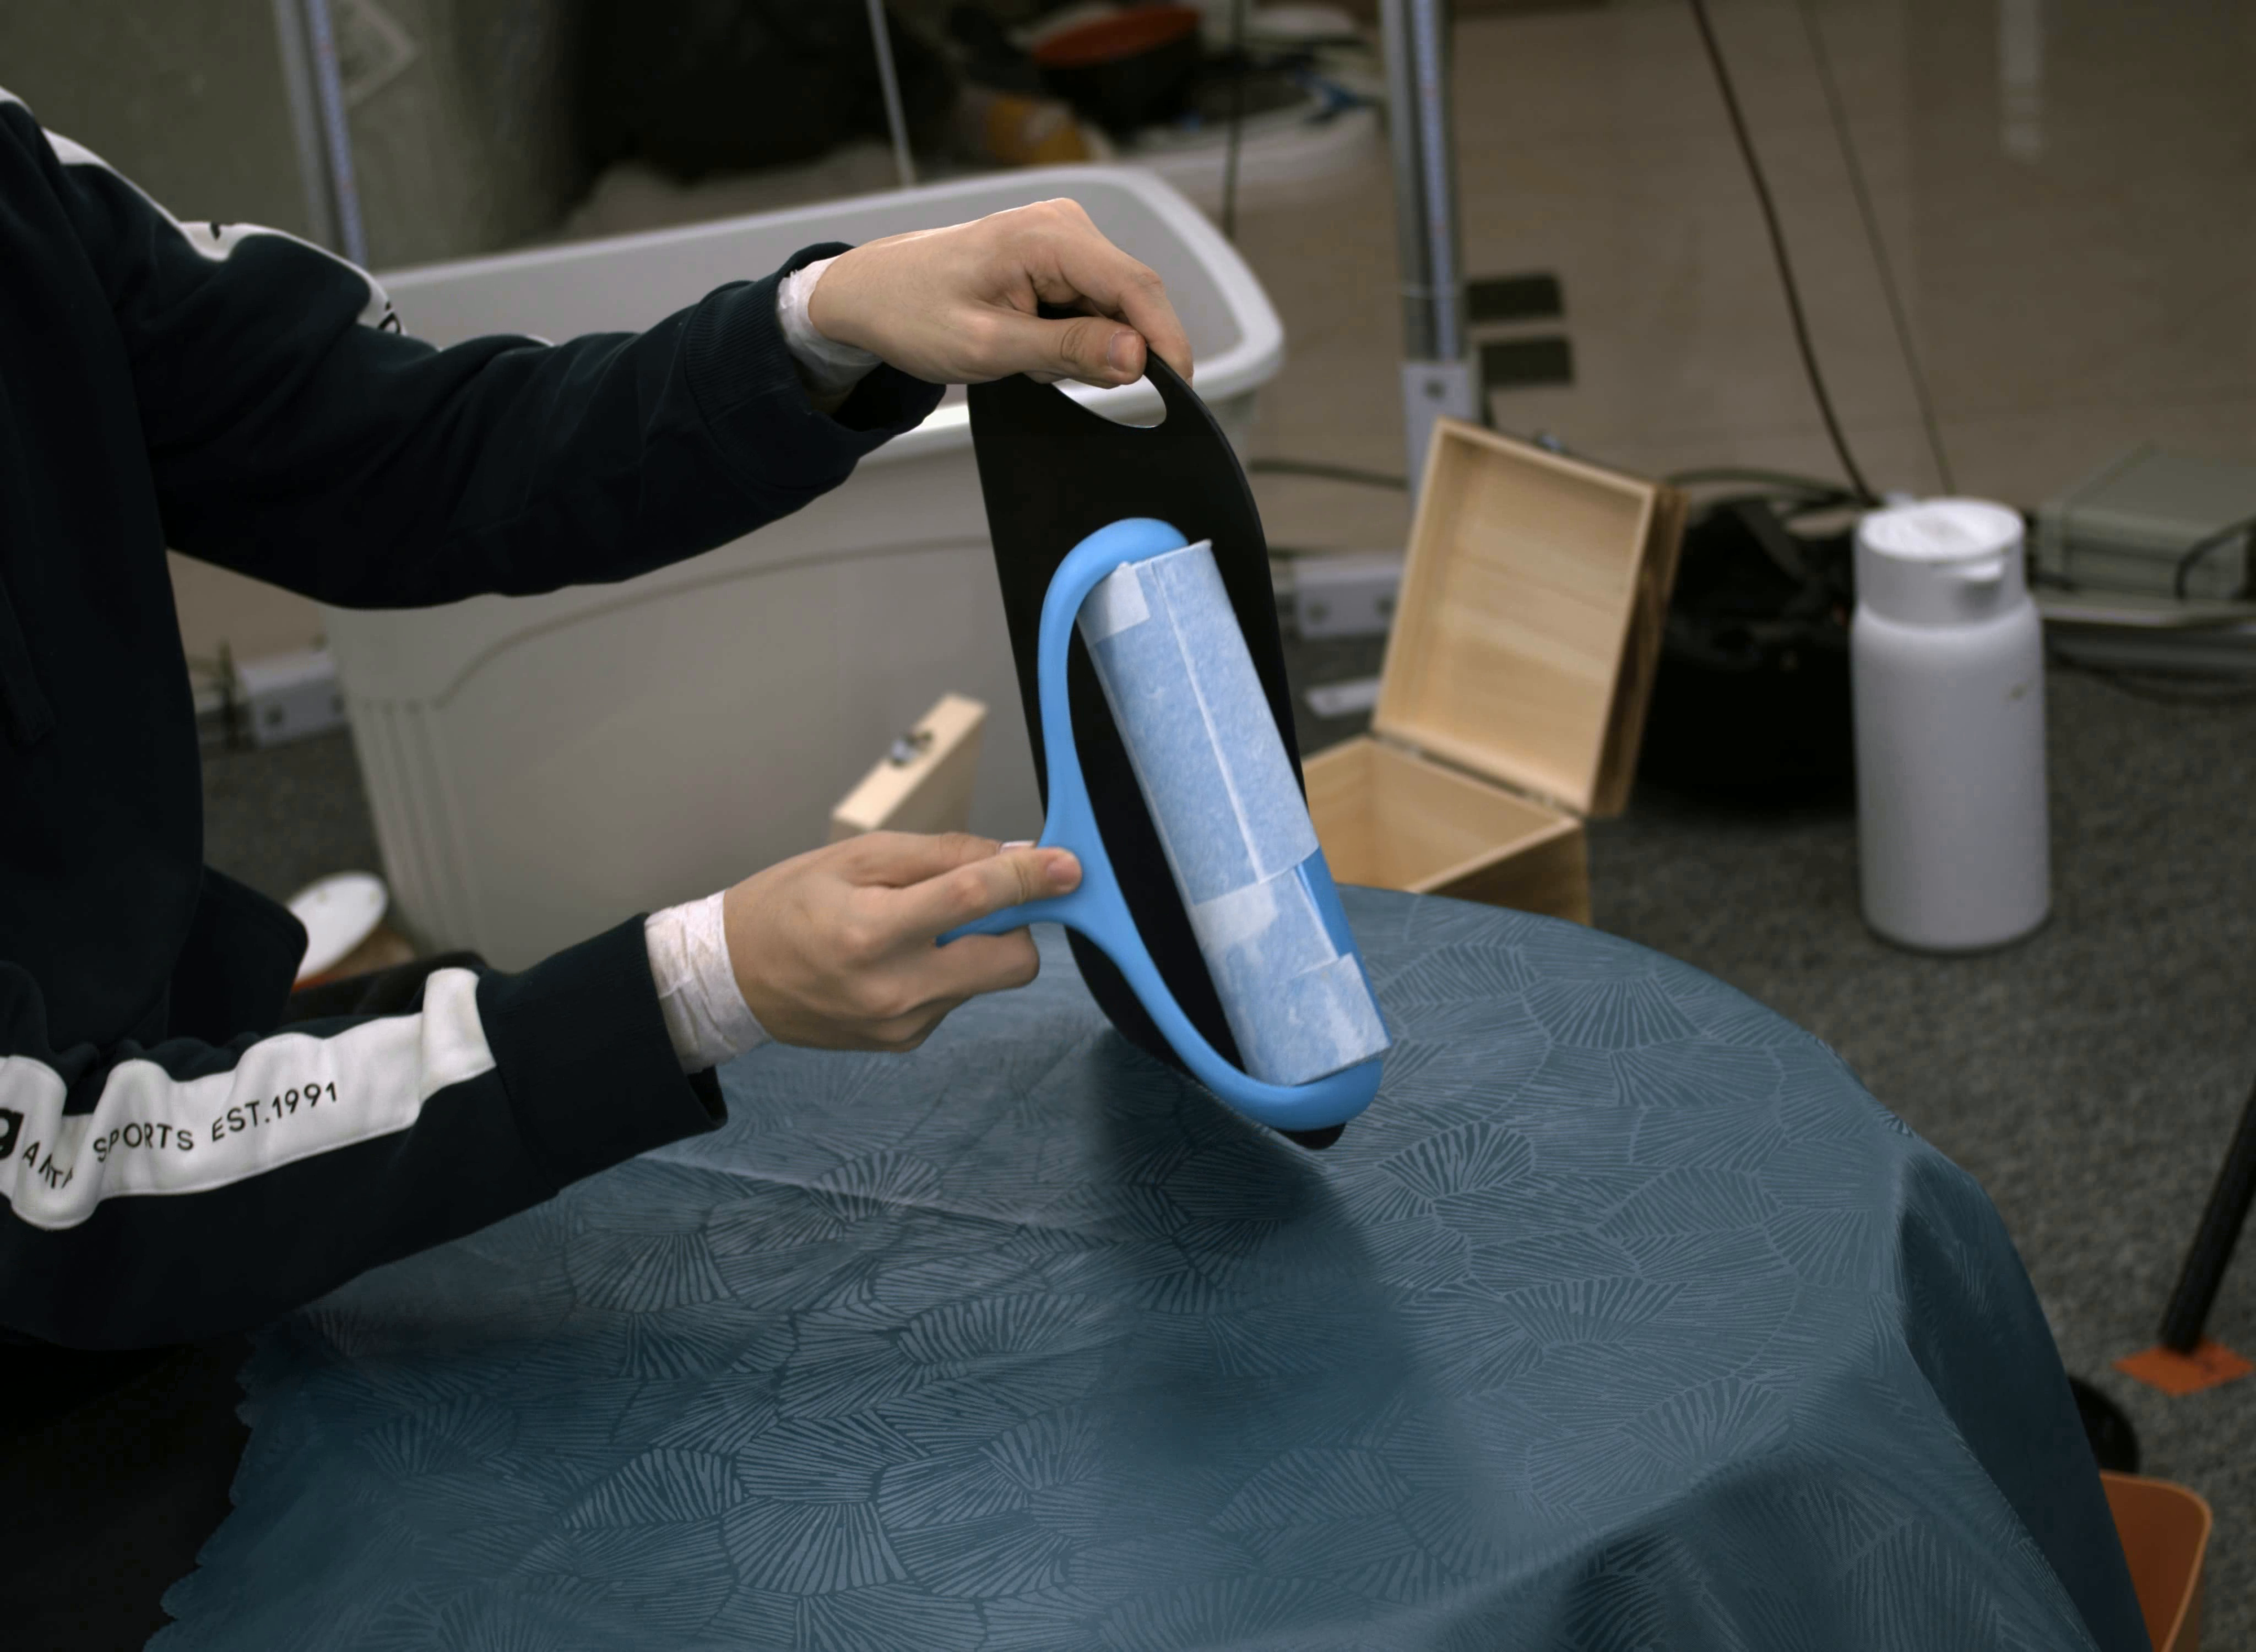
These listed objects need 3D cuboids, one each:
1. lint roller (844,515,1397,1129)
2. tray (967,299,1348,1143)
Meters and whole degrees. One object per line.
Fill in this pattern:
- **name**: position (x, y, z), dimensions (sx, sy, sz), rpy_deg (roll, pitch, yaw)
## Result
- **lint roller**: position (-0.018, 0.021, 2.015), dimensions (0.180, 0.229, 0.068), rpy_deg (-23, 2, 4)
- **tray**: position (0.010, -0.043, 2.135), dimensions (0.010, 0.330, 0.209), rpy_deg (-23, 28, -25)
